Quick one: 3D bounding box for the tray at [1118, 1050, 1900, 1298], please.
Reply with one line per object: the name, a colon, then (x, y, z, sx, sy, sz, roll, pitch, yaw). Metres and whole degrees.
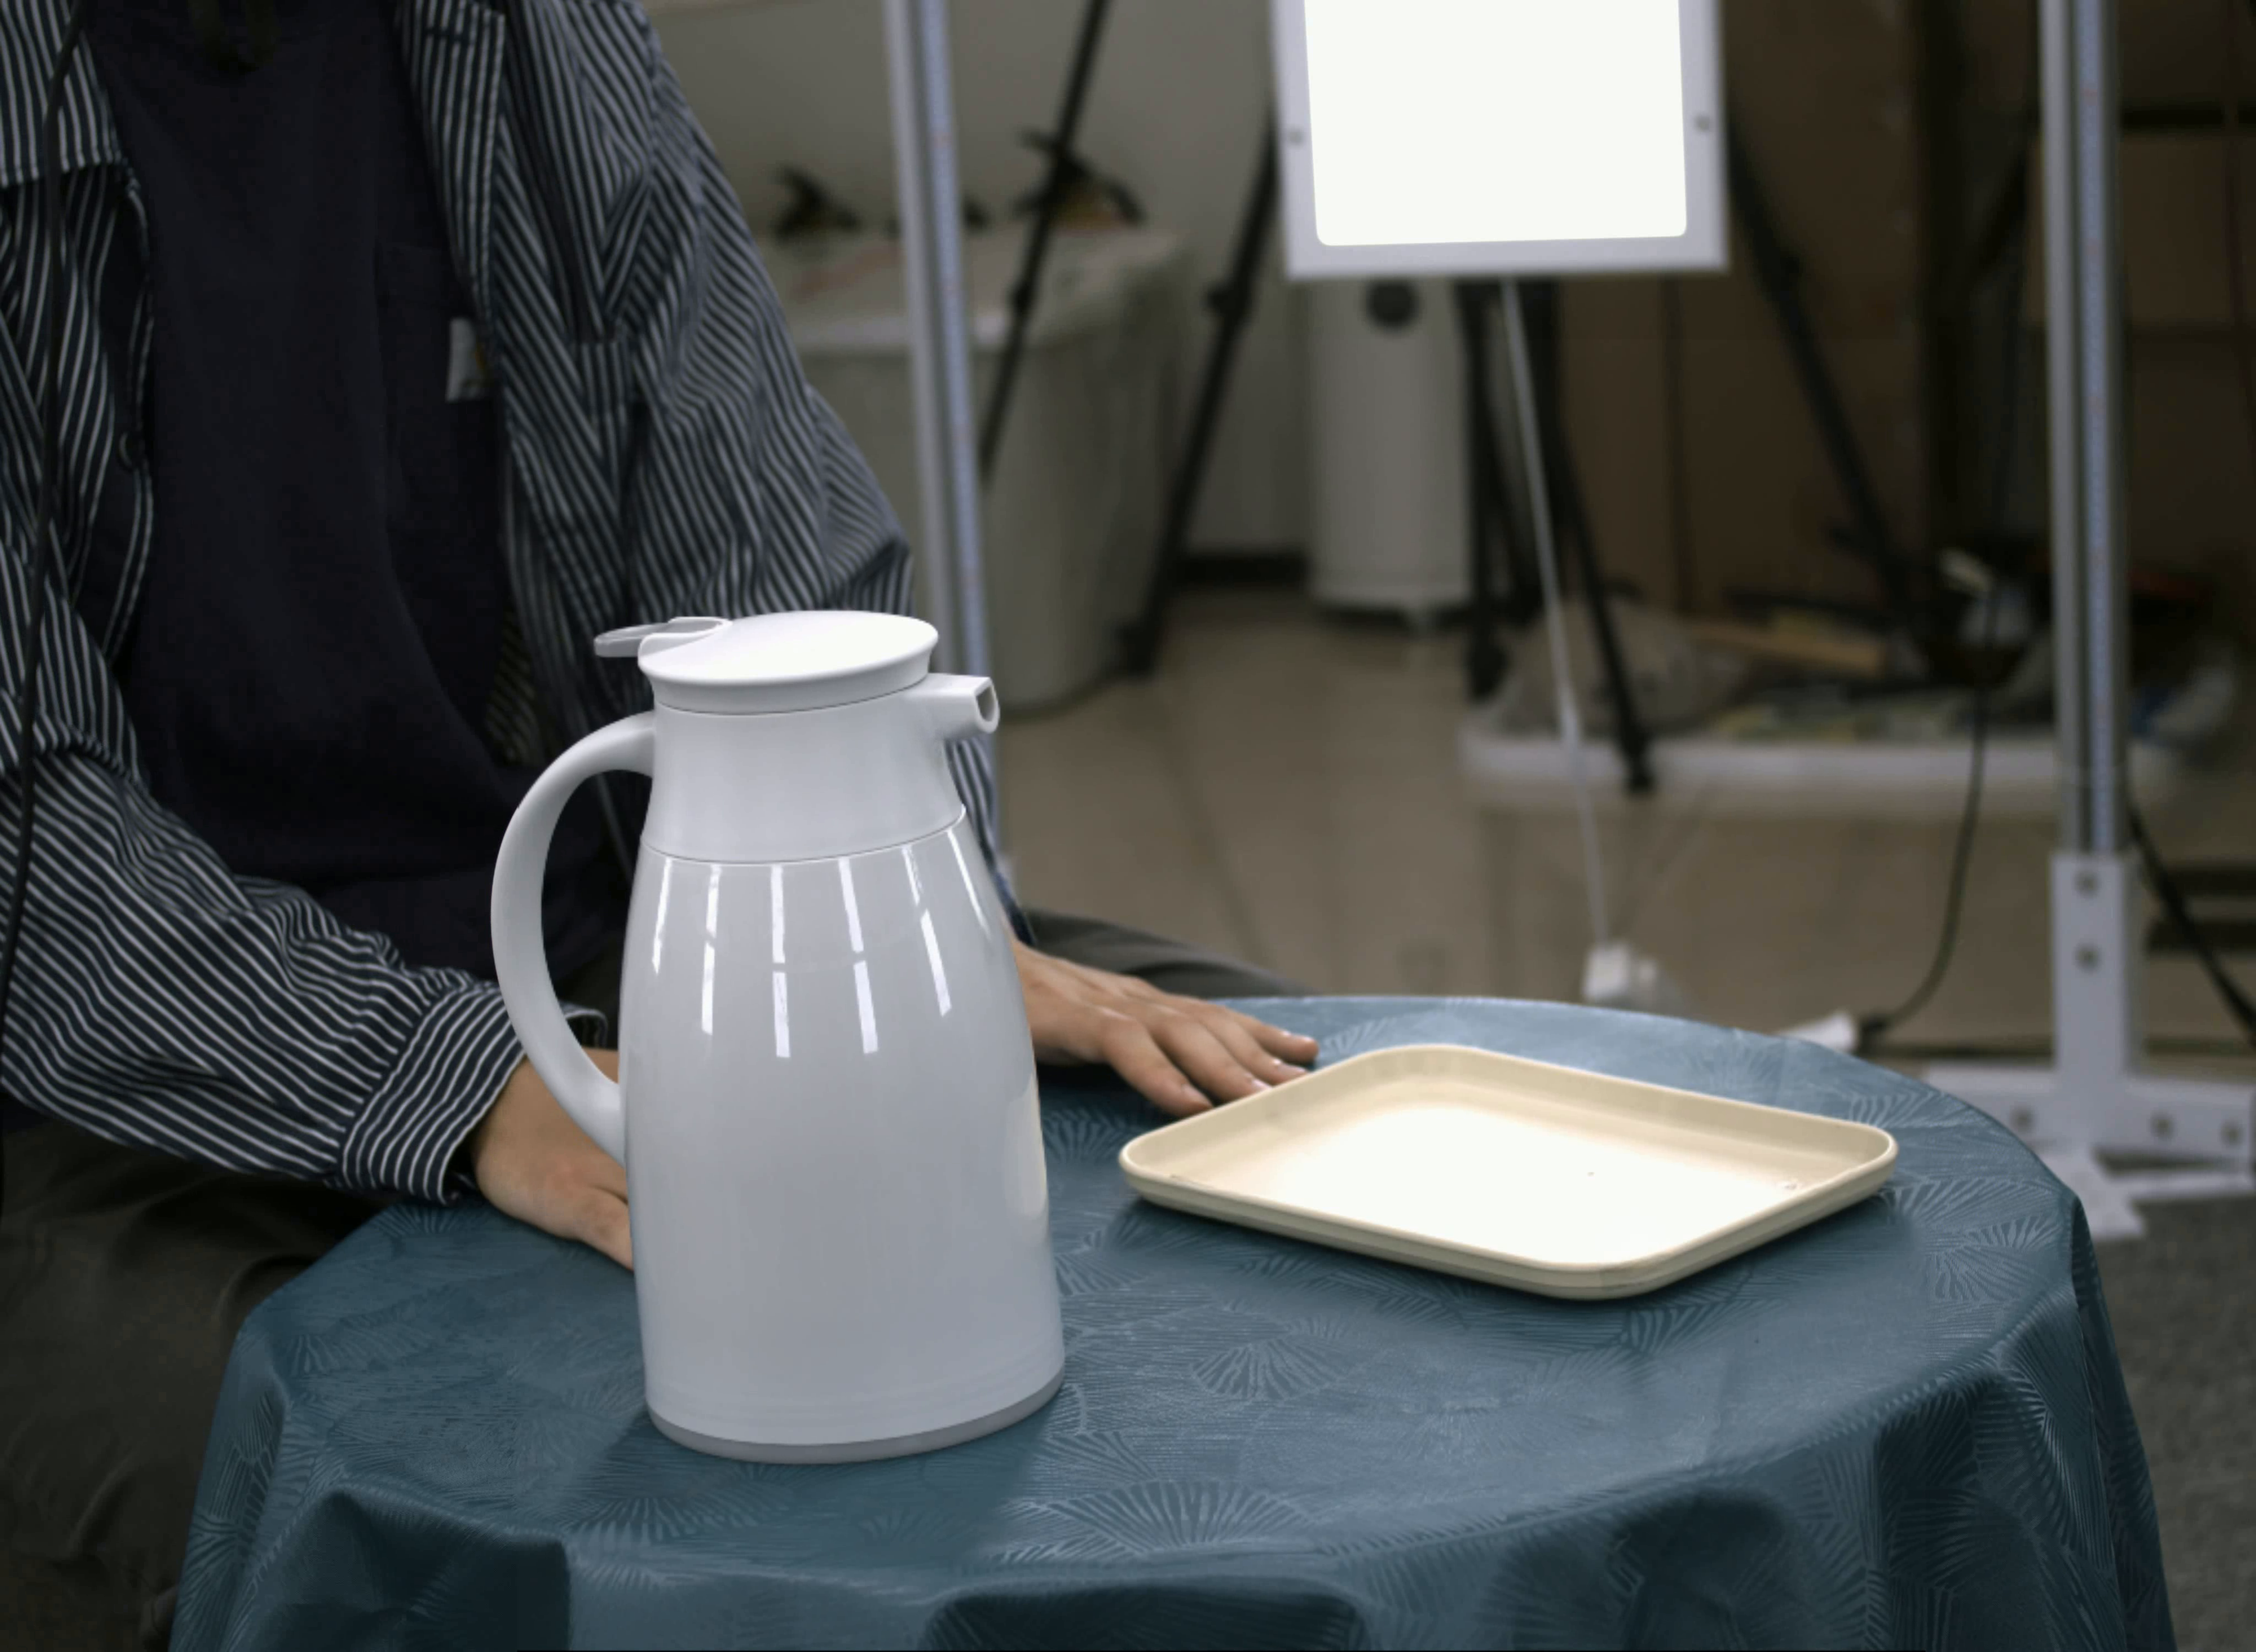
tray: (0.128, 0.116, 1.851, 0.167, 0.017, 0.245, -17, 17, -41)

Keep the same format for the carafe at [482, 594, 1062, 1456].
carafe: (-0.114, 0.055, 1.694, 0.169, 0.249, 0.131, -2, 14, 13)
